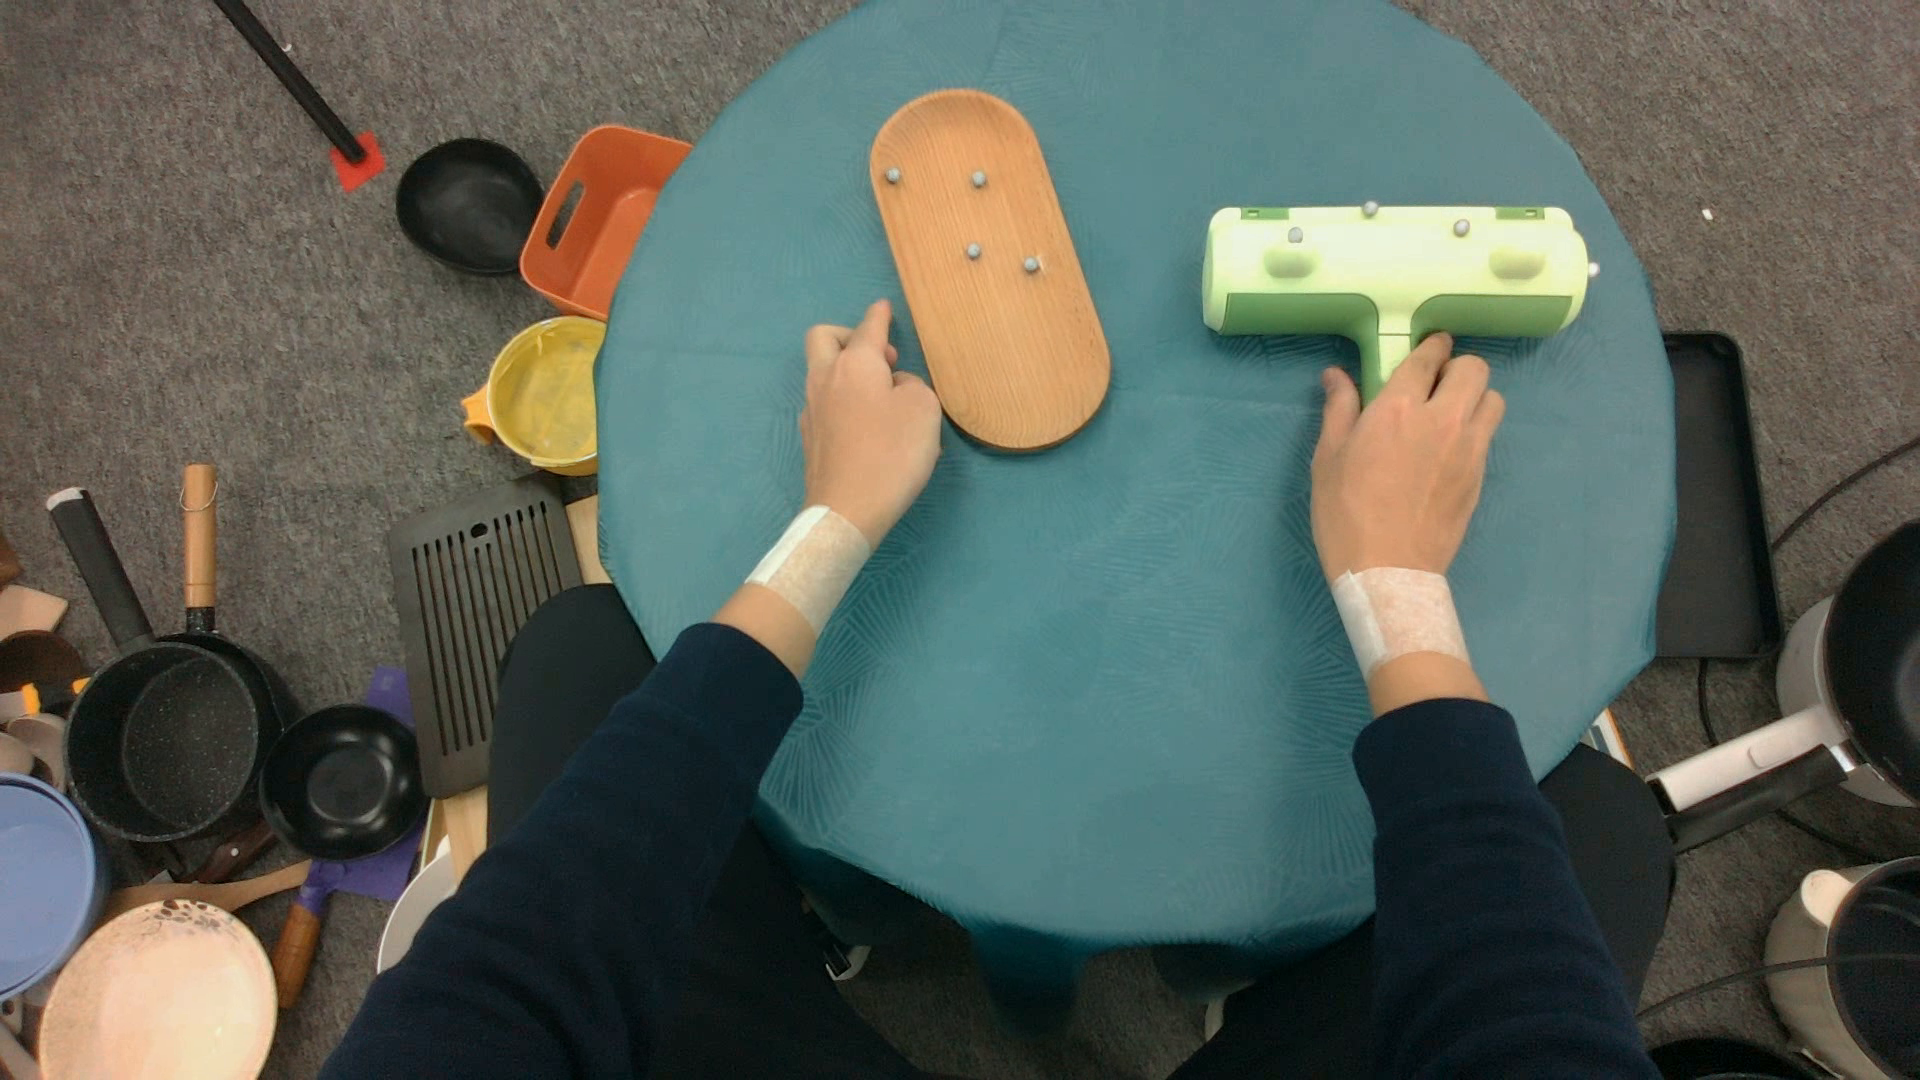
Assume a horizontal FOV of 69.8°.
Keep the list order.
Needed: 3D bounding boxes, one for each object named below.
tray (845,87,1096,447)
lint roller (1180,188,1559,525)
[{"bbox_3d":[0.004,-0.159,0.785,0.102,0.020,0.231,-18,75,-3],"label":"tray"},{"bbox_3d":[0.221,-0.105,0.725,0.198,0.082,0.184,-1,67,2],"label":"lint roller"}]
